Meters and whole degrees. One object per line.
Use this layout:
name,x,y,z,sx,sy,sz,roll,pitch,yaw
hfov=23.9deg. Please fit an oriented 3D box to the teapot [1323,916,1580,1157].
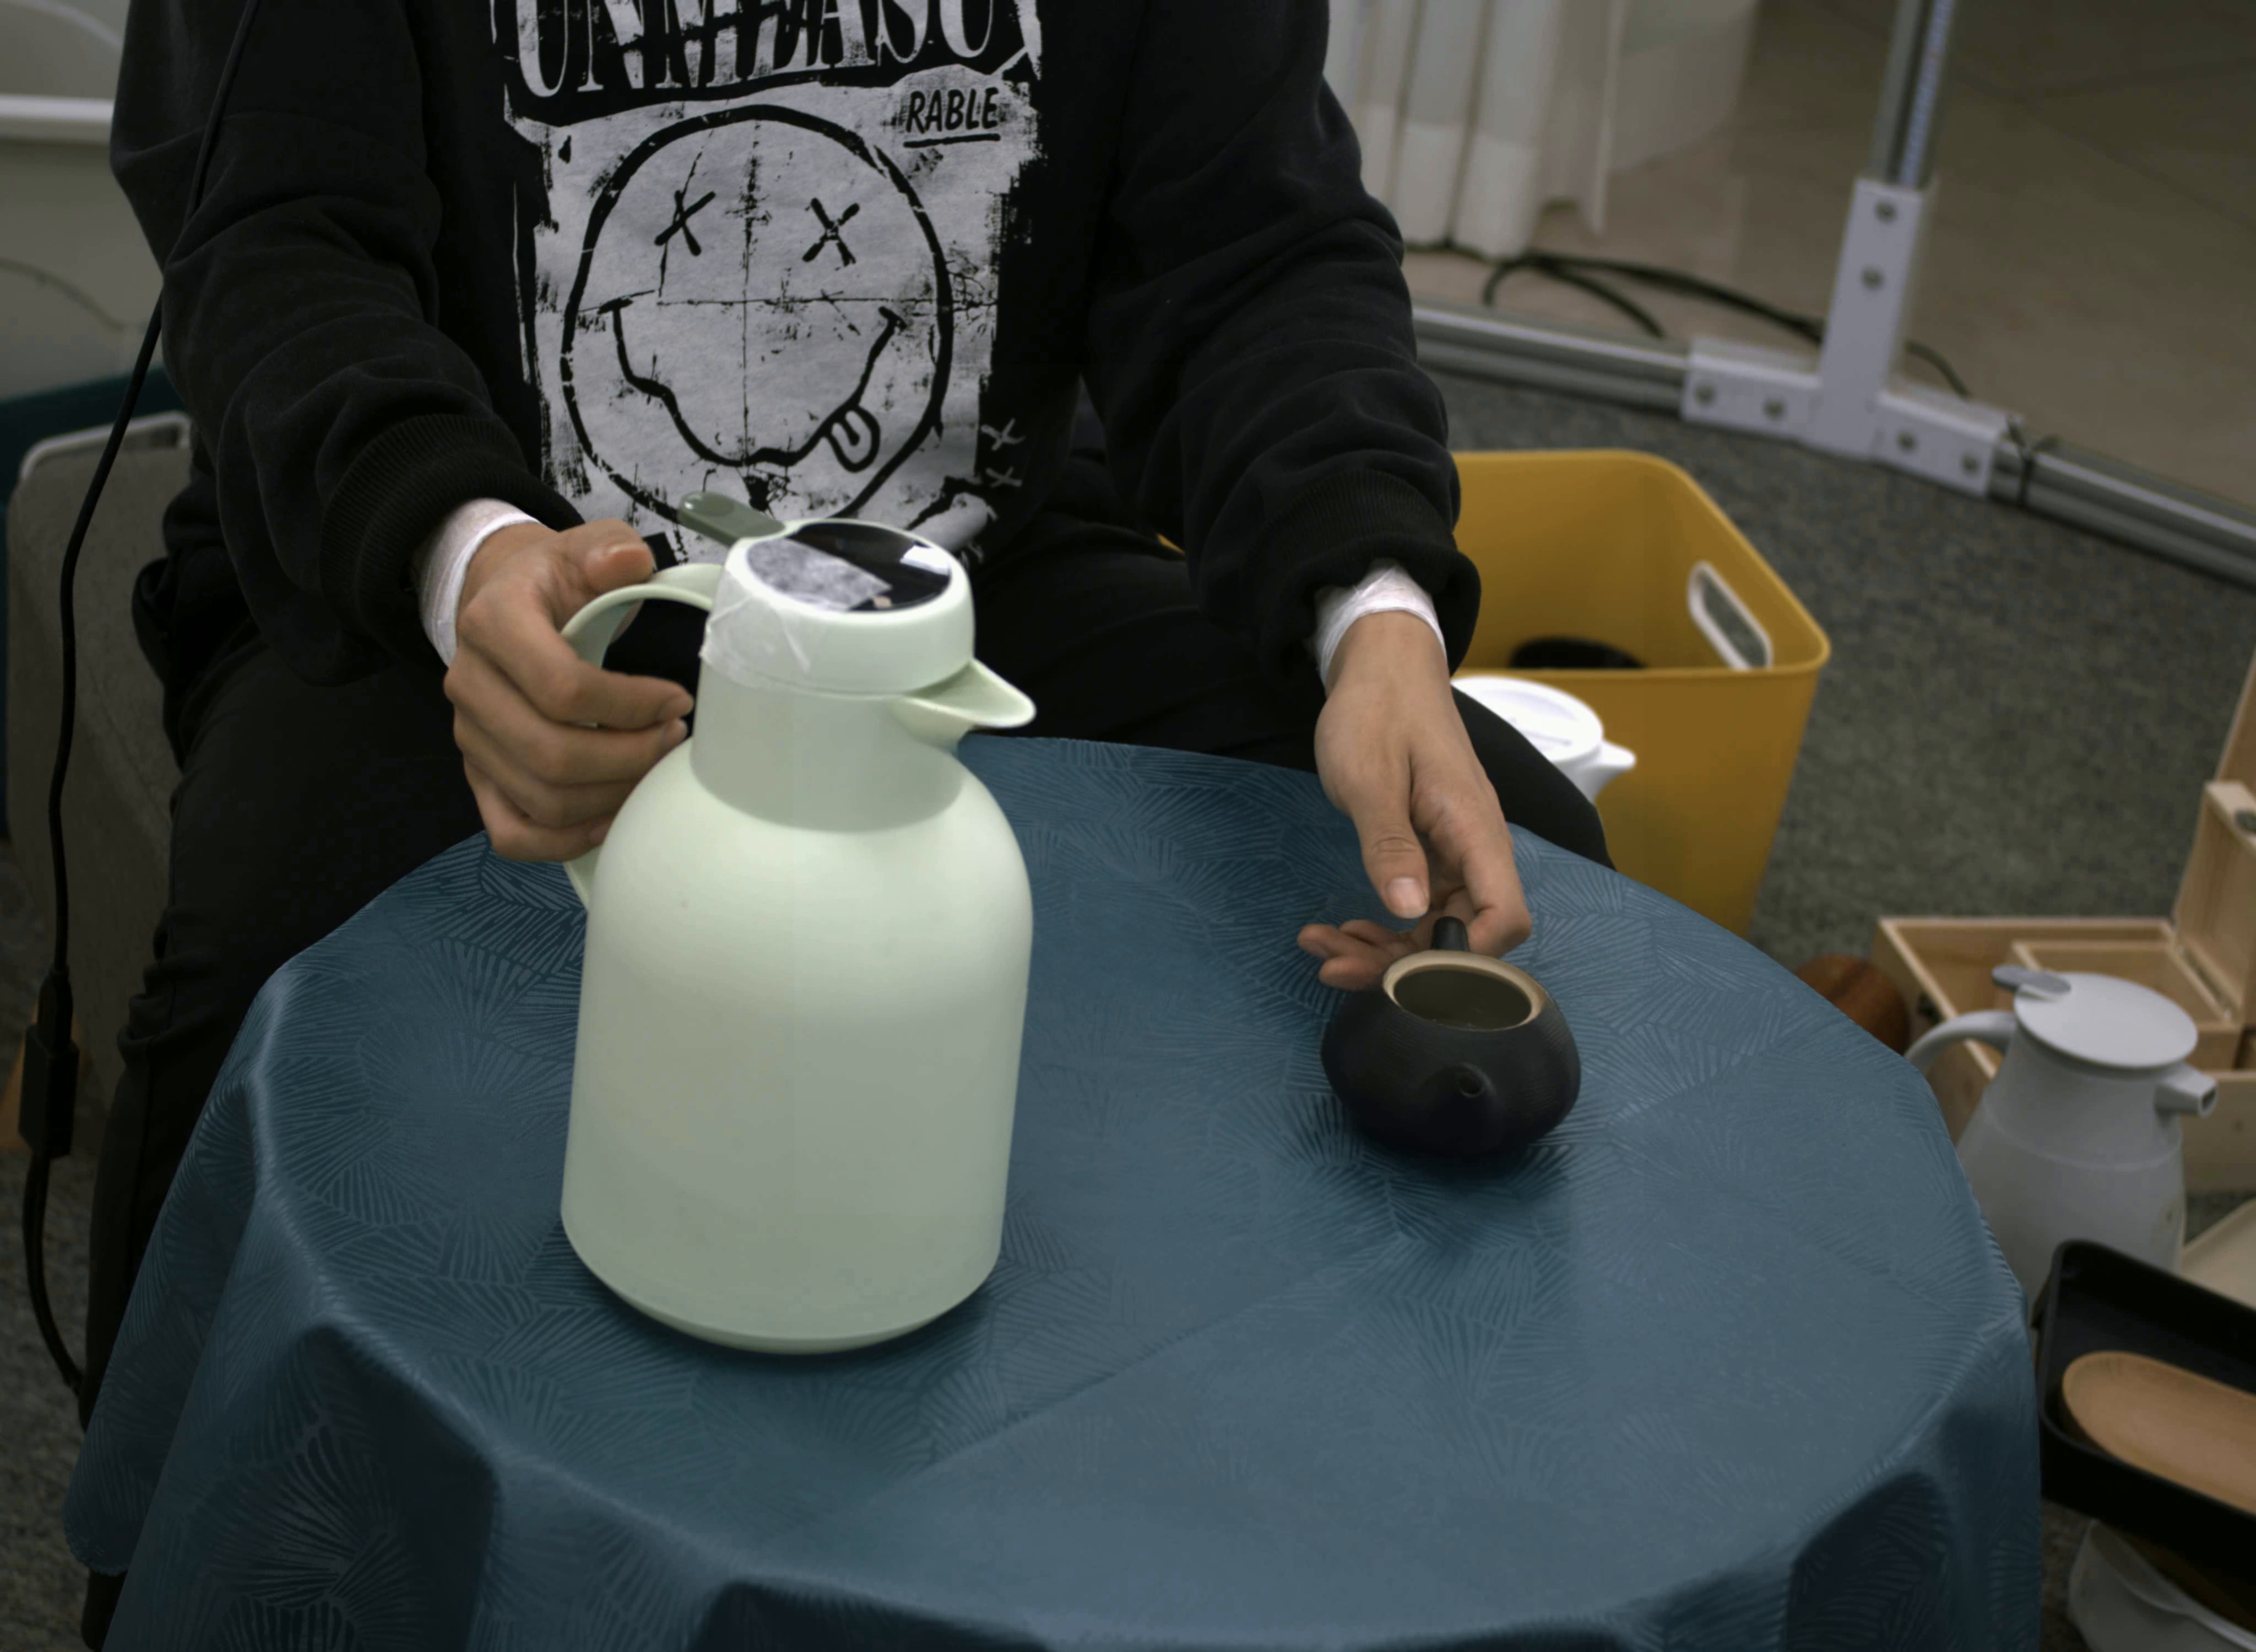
teapot,0.114,0.079,1.859,0.090,0.053,0.134,7,27,-4

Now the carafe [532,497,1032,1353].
carafe,-0.112,0.025,1.699,0.188,0.256,0.144,20,31,31
